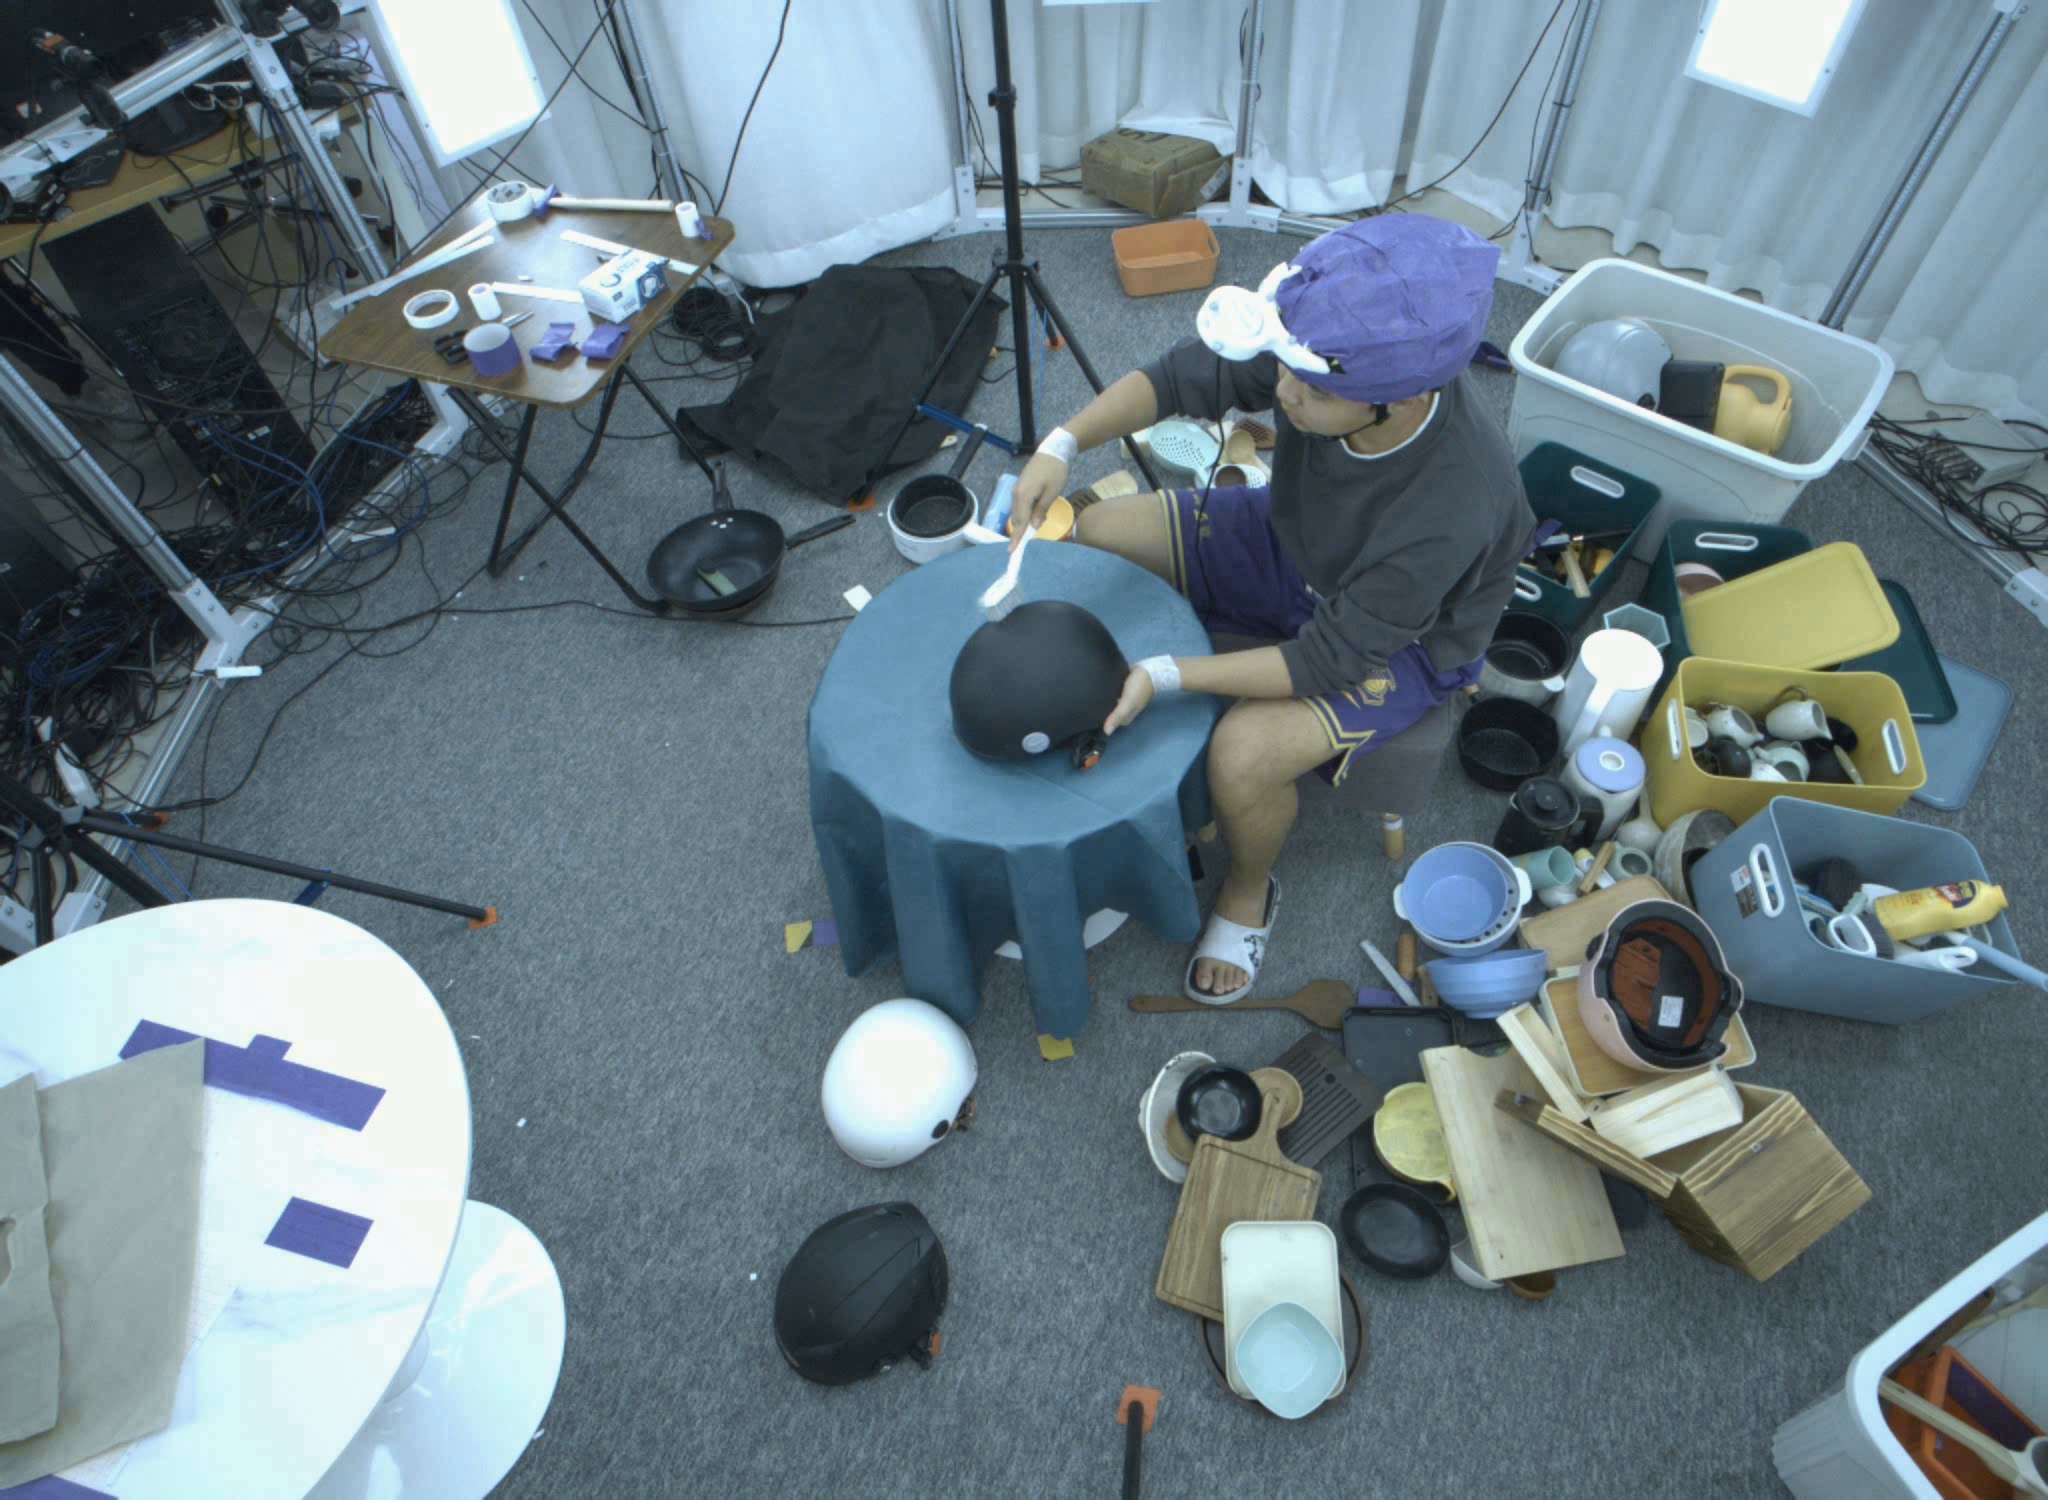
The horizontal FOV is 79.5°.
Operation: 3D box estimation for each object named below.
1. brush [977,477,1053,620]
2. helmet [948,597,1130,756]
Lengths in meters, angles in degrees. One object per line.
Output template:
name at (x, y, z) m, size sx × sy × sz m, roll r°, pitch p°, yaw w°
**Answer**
brush at (-0.001, -0.291, 1.777) m, size 0.033 × 0.051 × 0.243 m, roll 2°, pitch 59°, yaw 47°
helmet at (0.012, -0.121, 1.768) m, size 0.274 × 0.169 × 0.226 m, roll -18°, pitch 47°, yaw -5°
